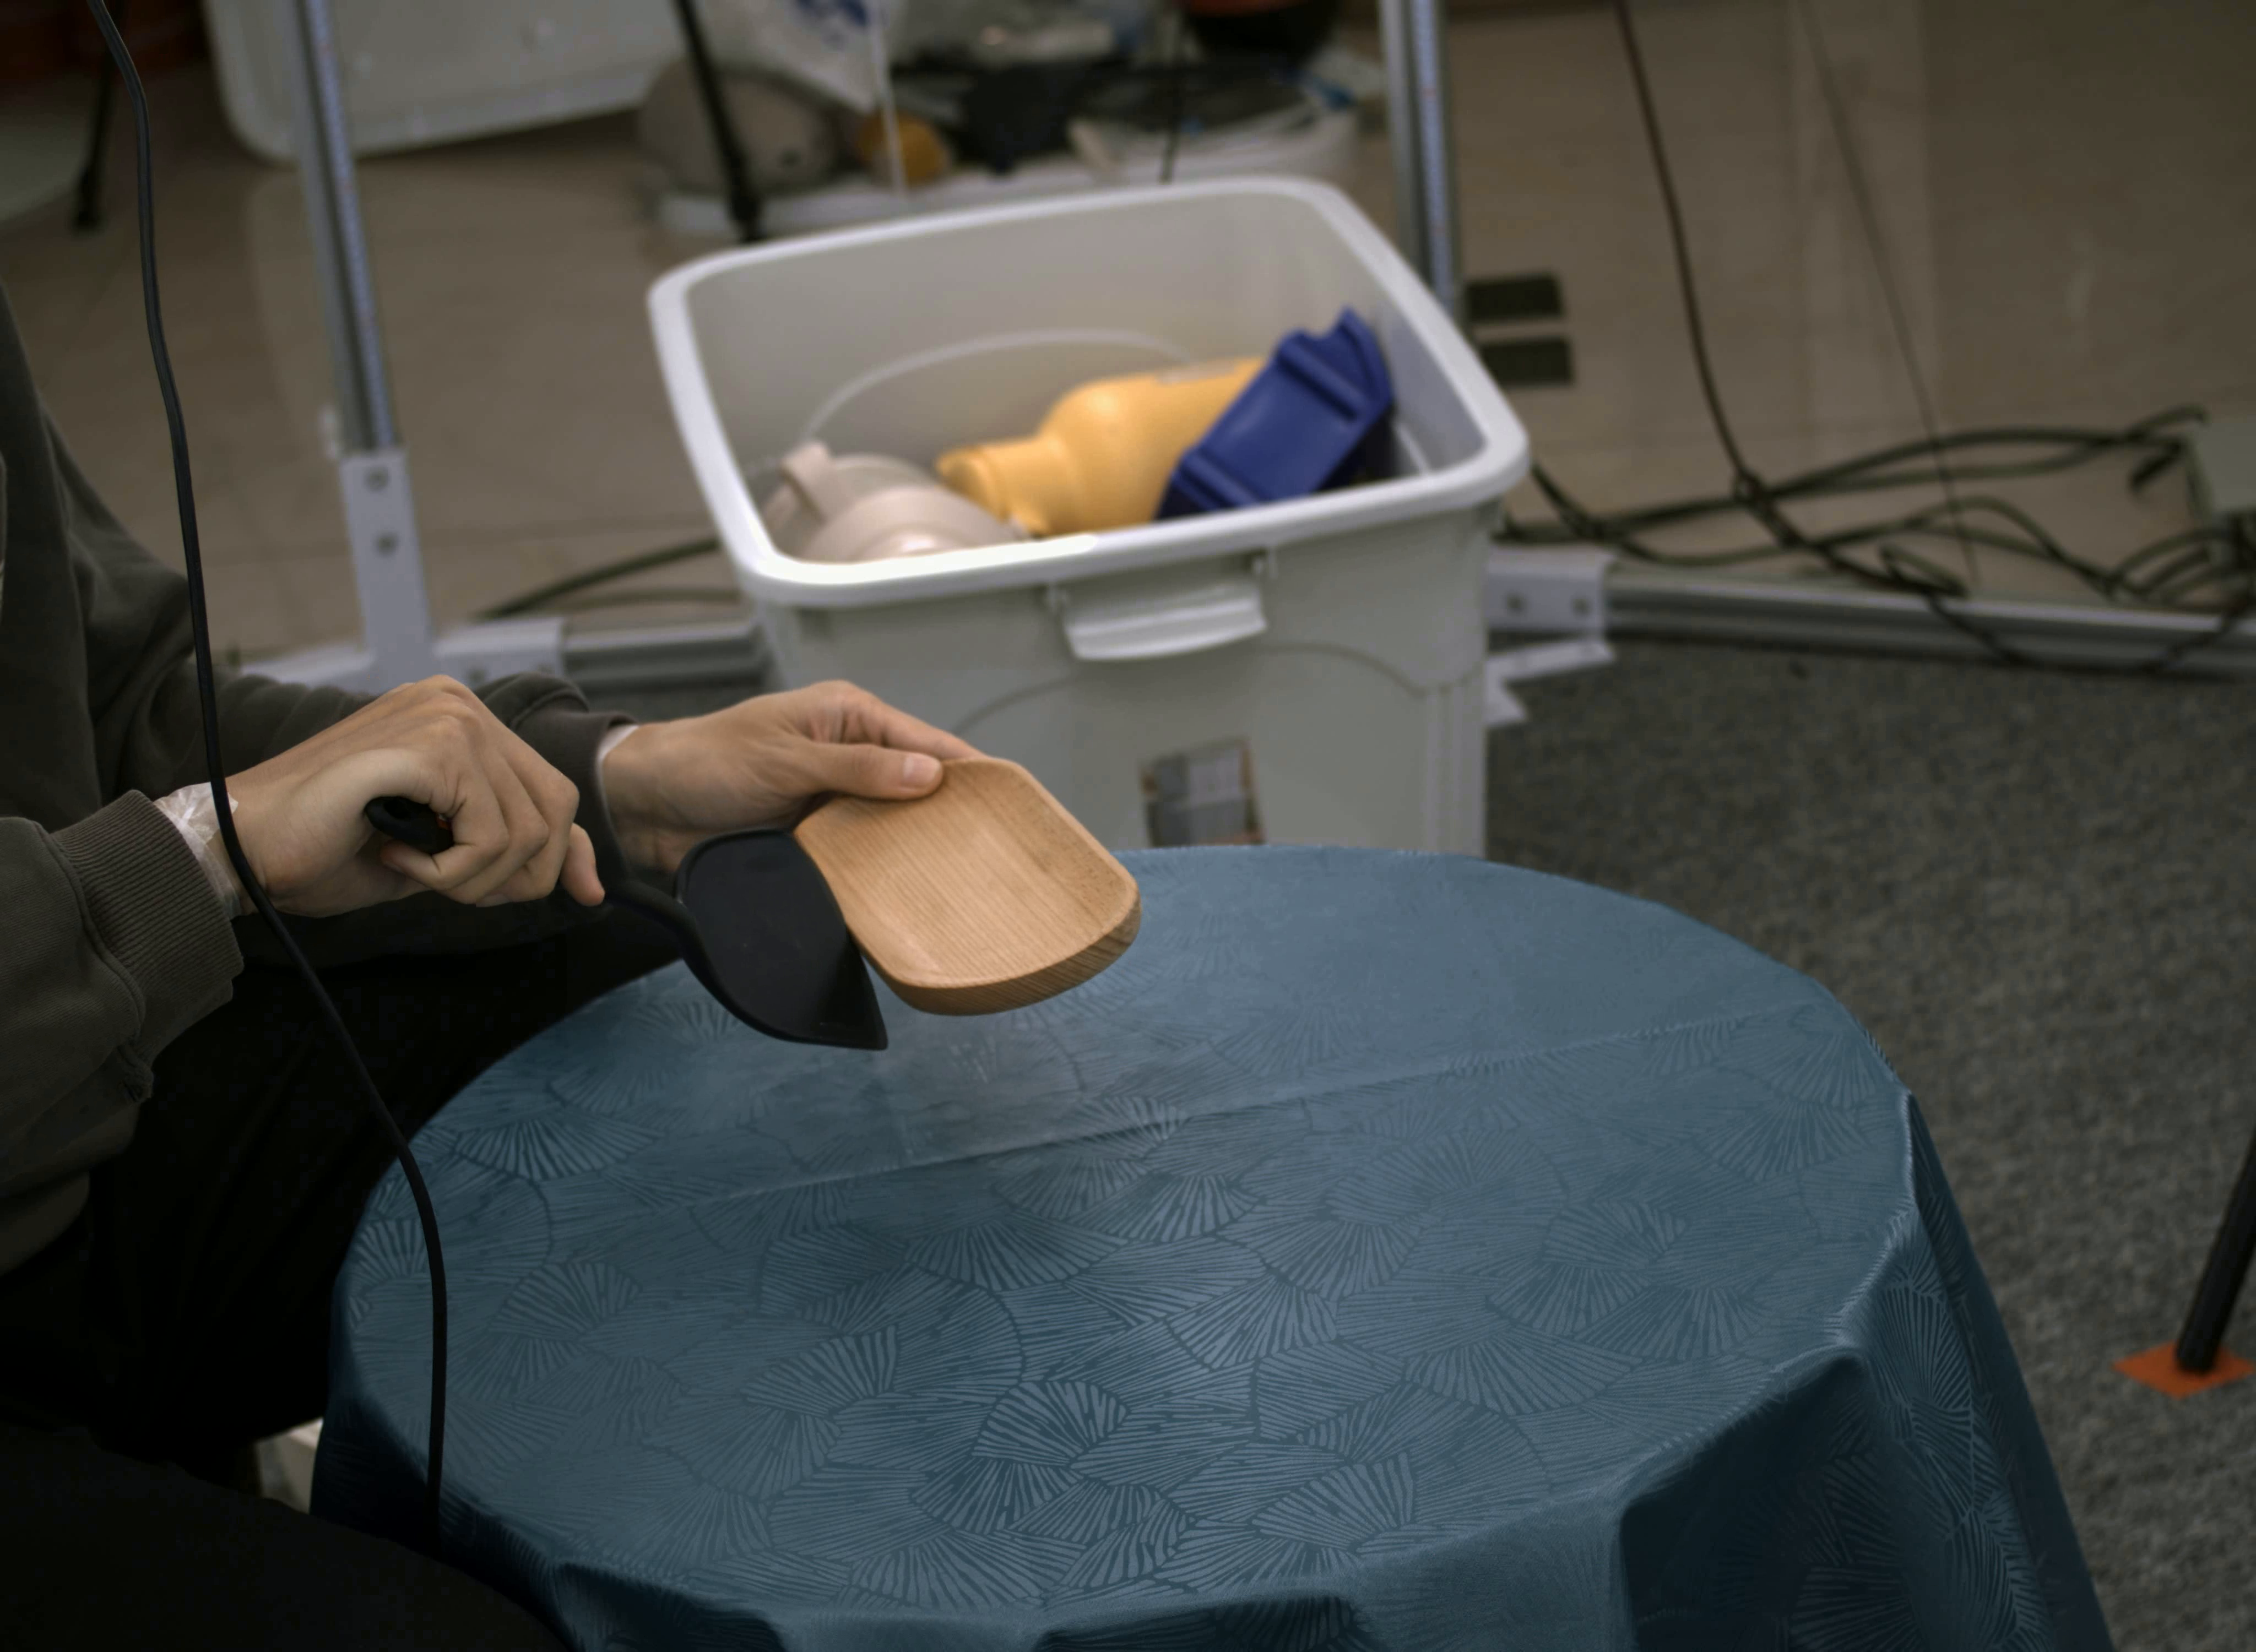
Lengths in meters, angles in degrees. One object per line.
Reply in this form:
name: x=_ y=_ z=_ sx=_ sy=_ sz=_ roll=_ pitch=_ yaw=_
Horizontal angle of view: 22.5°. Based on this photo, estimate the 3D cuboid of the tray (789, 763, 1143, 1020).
tray: x=-0.063 y=0.024 z=2.173 sx=0.101 sy=0.020 sz=0.228 roll=-22 pitch=25 yaw=-11

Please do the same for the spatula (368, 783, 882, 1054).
spatula: x=-0.179 y=0.019 z=2.006 sx=0.040 sy=0.099 sz=0.328 roll=-30 pitch=-21 yaw=12
